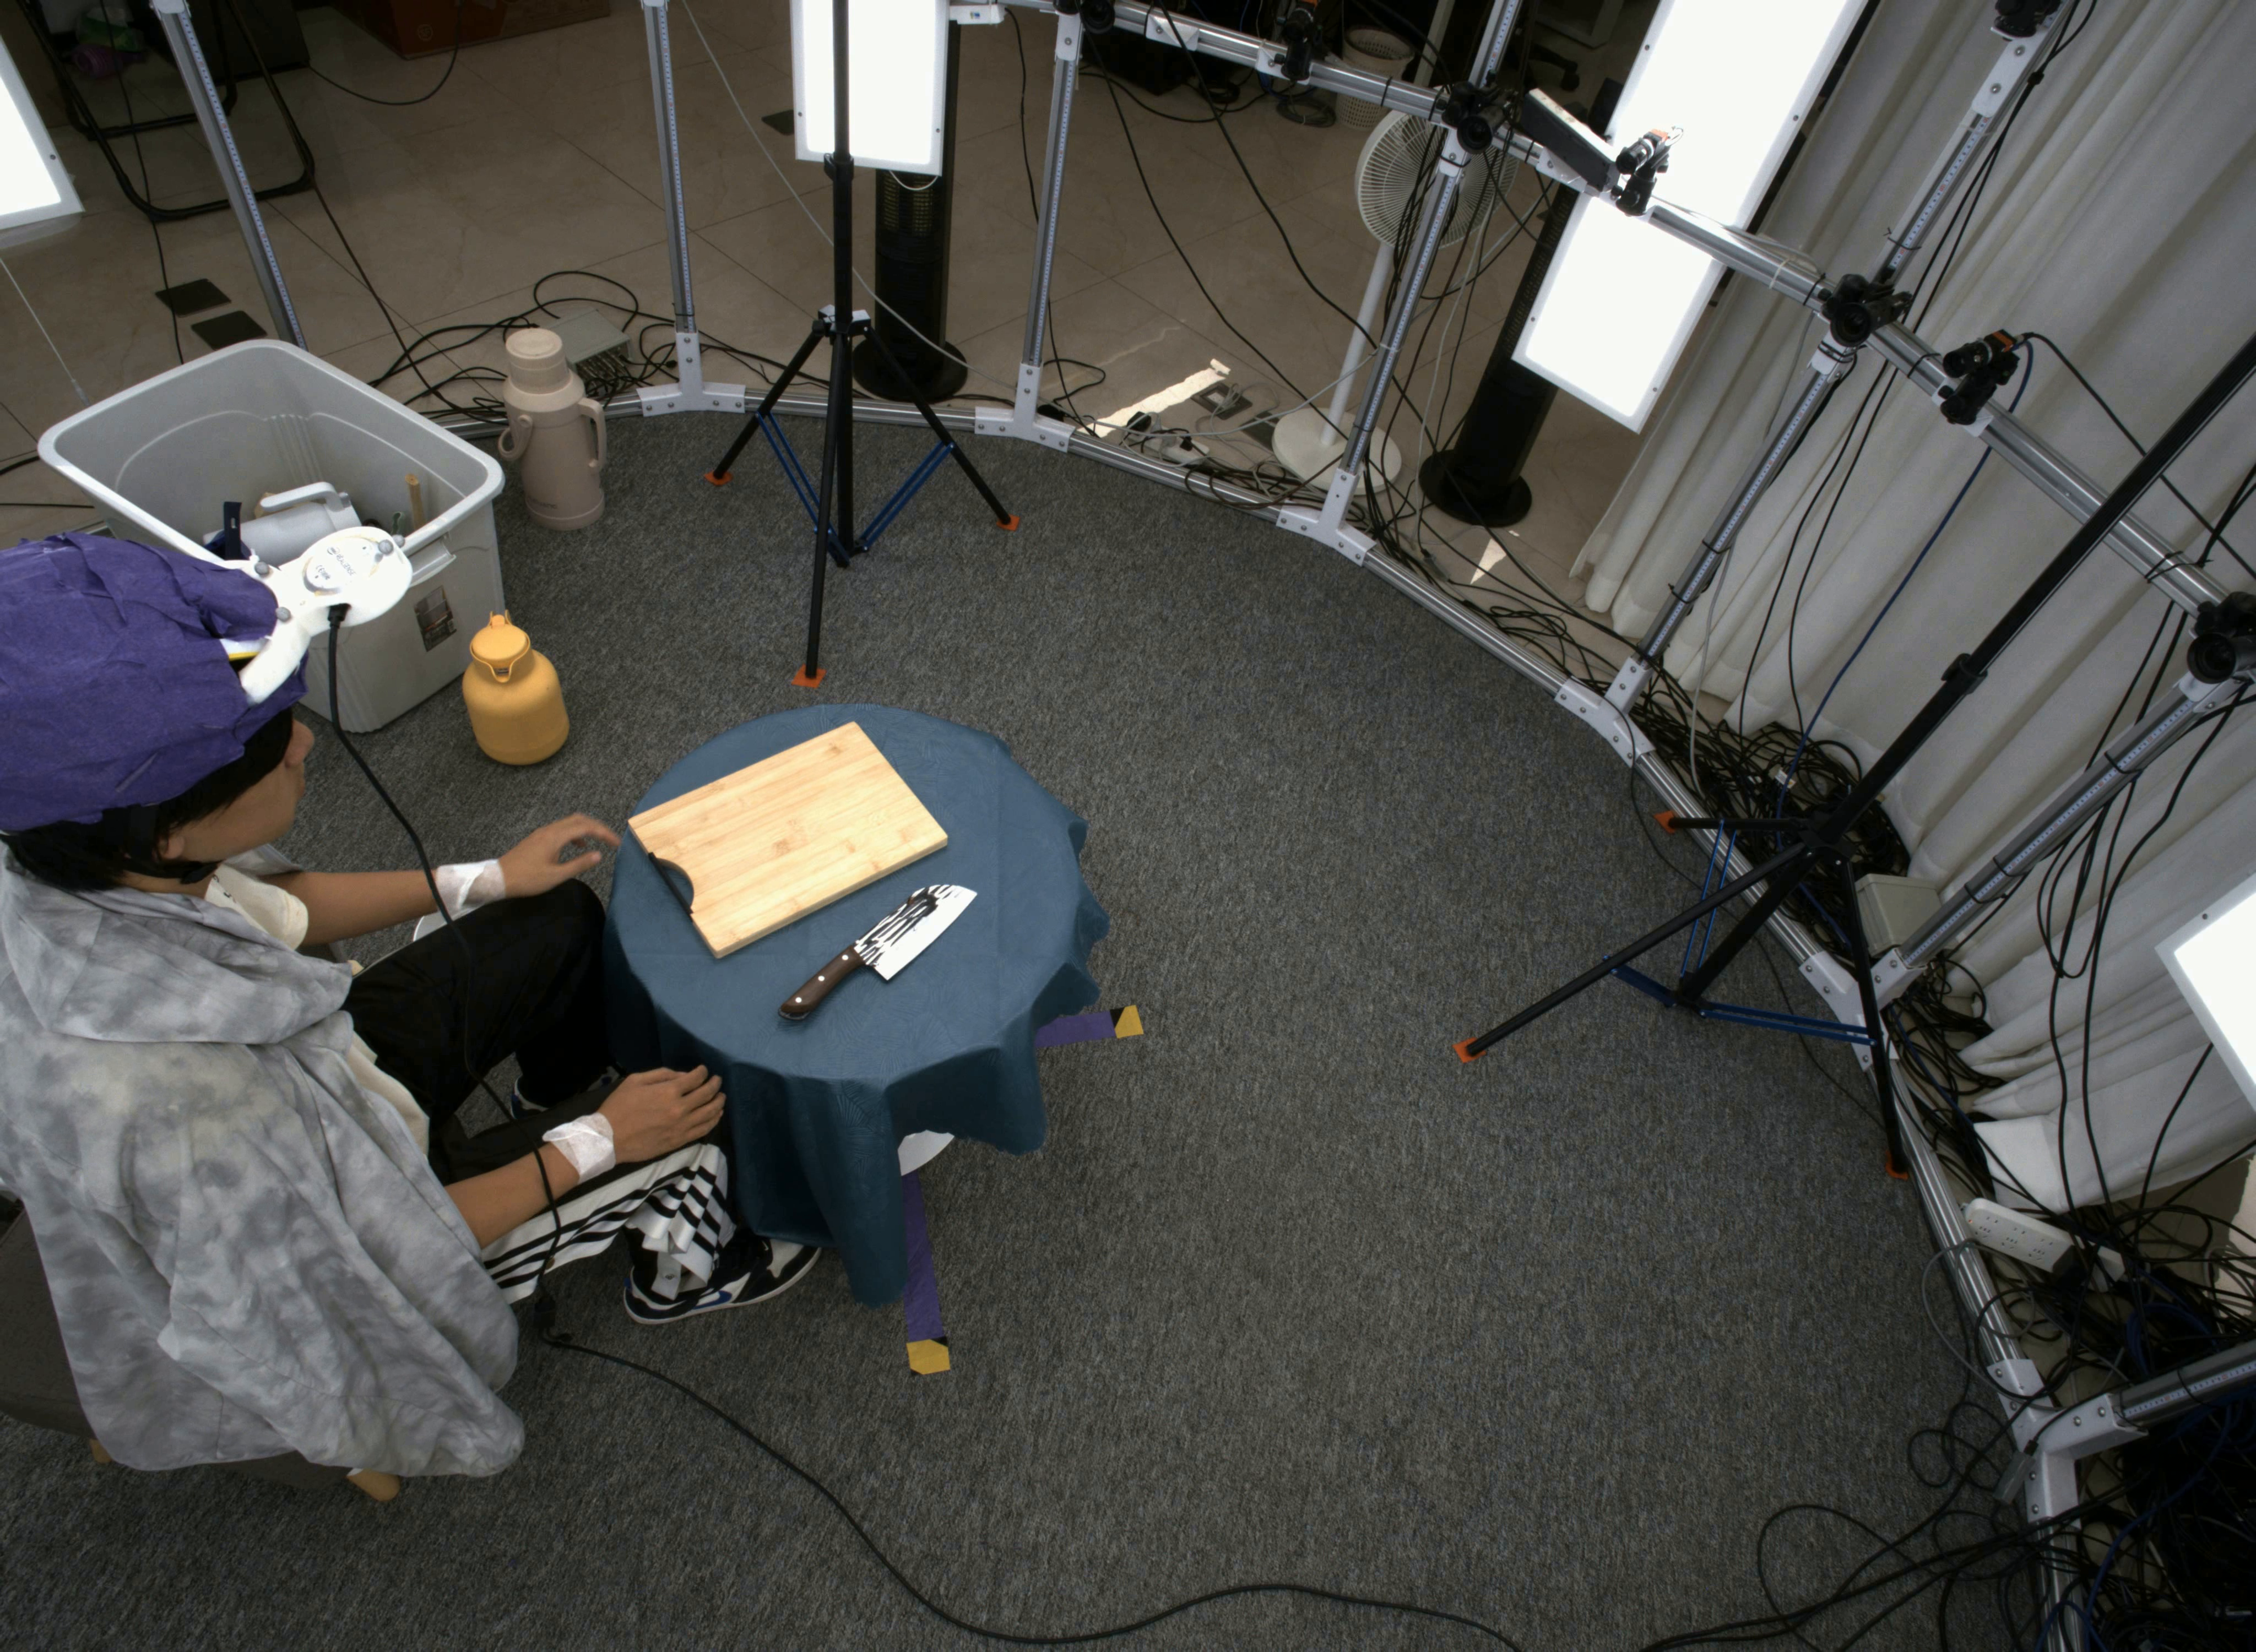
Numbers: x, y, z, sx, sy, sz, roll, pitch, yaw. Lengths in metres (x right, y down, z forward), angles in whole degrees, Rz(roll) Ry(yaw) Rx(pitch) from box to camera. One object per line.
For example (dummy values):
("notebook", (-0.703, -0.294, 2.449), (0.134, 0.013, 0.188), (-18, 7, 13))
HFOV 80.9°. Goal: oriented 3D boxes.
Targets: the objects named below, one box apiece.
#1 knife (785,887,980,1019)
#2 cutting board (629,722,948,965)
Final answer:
("knife", (-0.301, 0.155, 1.629), (0.067, 0.024, 0.300), (38, 52, 13))
("cutting board", (-0.442, 0.011, 1.703), (0.350, 0.024, 0.244), (-29, 65, -30))
